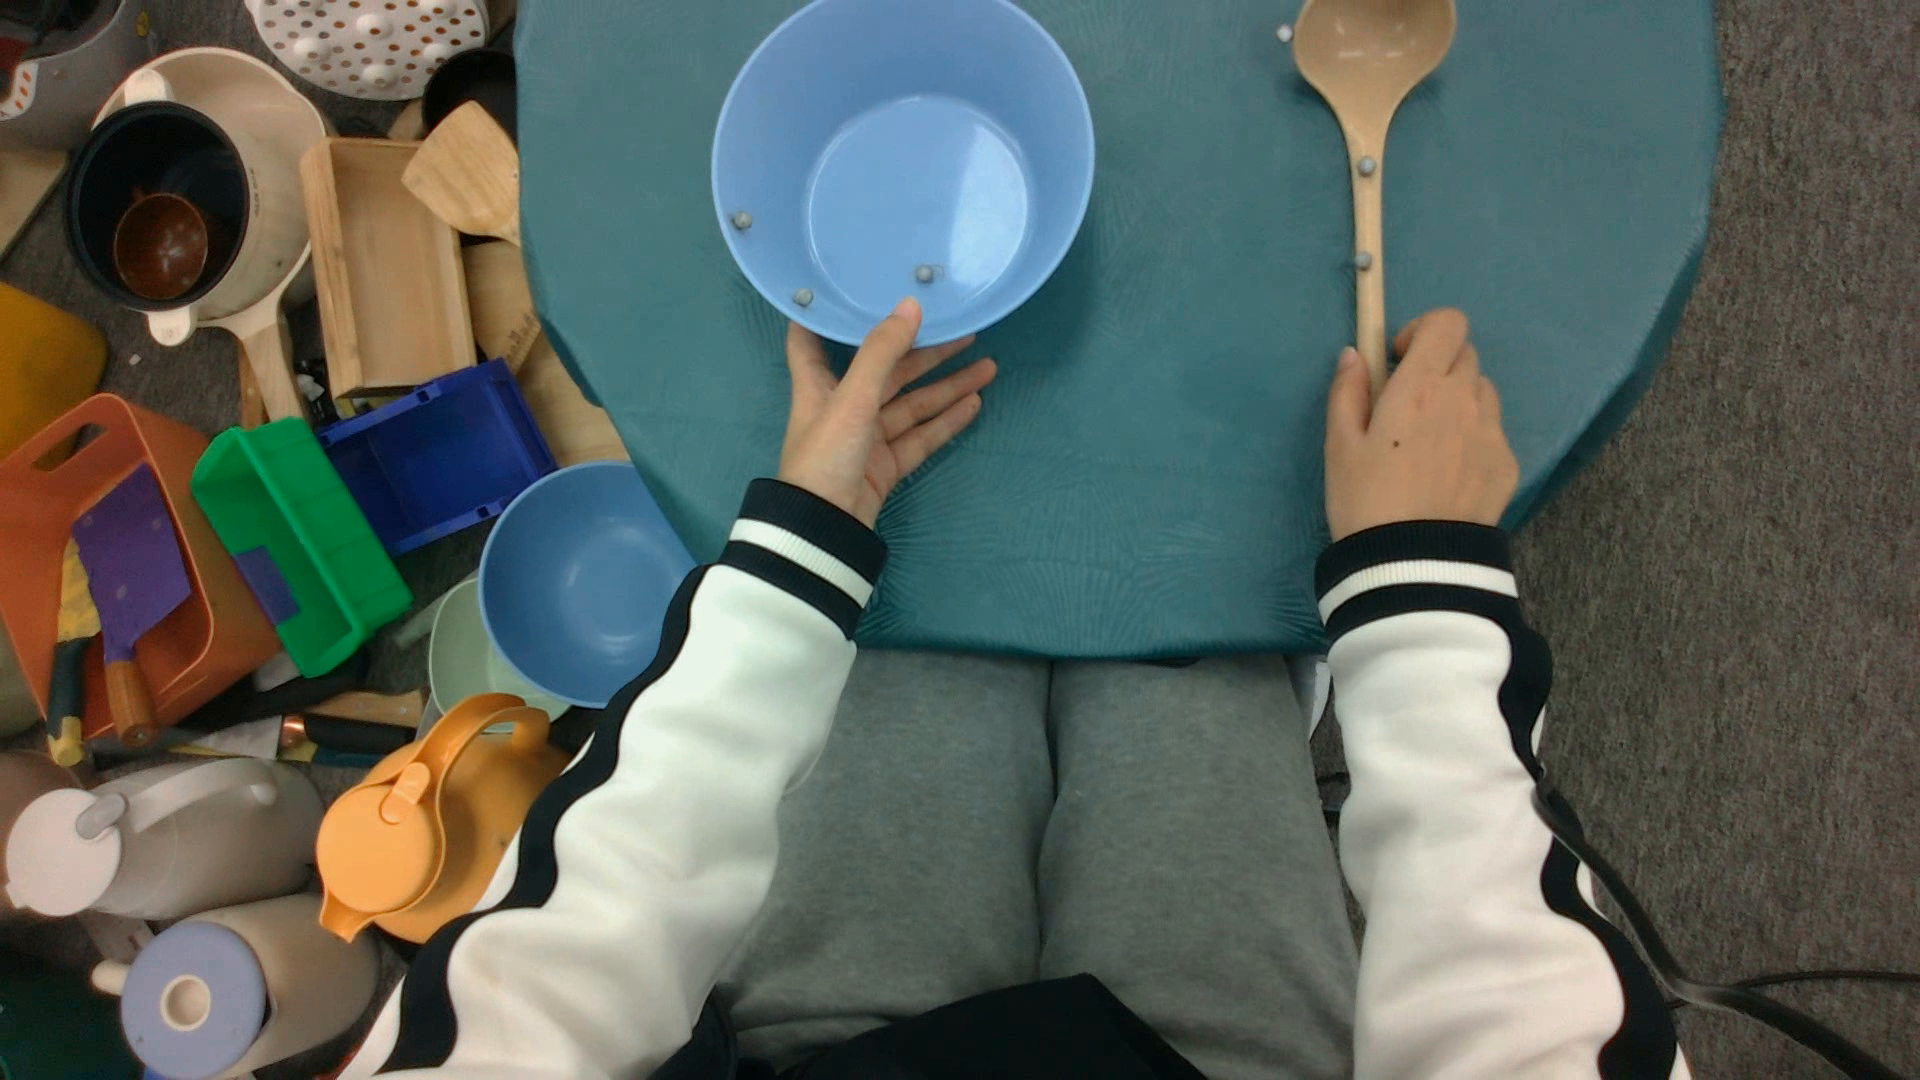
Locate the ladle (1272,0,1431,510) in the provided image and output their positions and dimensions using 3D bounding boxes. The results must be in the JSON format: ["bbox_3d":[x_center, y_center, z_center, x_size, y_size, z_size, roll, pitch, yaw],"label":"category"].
[{"bbox_3d":[0.186,-0.144,0.631,0.072,0.073,0.255,-3,81,9],"label":"ladle"}]

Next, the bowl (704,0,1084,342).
[{"bbox_3d":[-0.028,-0.172,0.659,0.176,0.070,0.176,-1,82,7],"label":"bowl"}]
